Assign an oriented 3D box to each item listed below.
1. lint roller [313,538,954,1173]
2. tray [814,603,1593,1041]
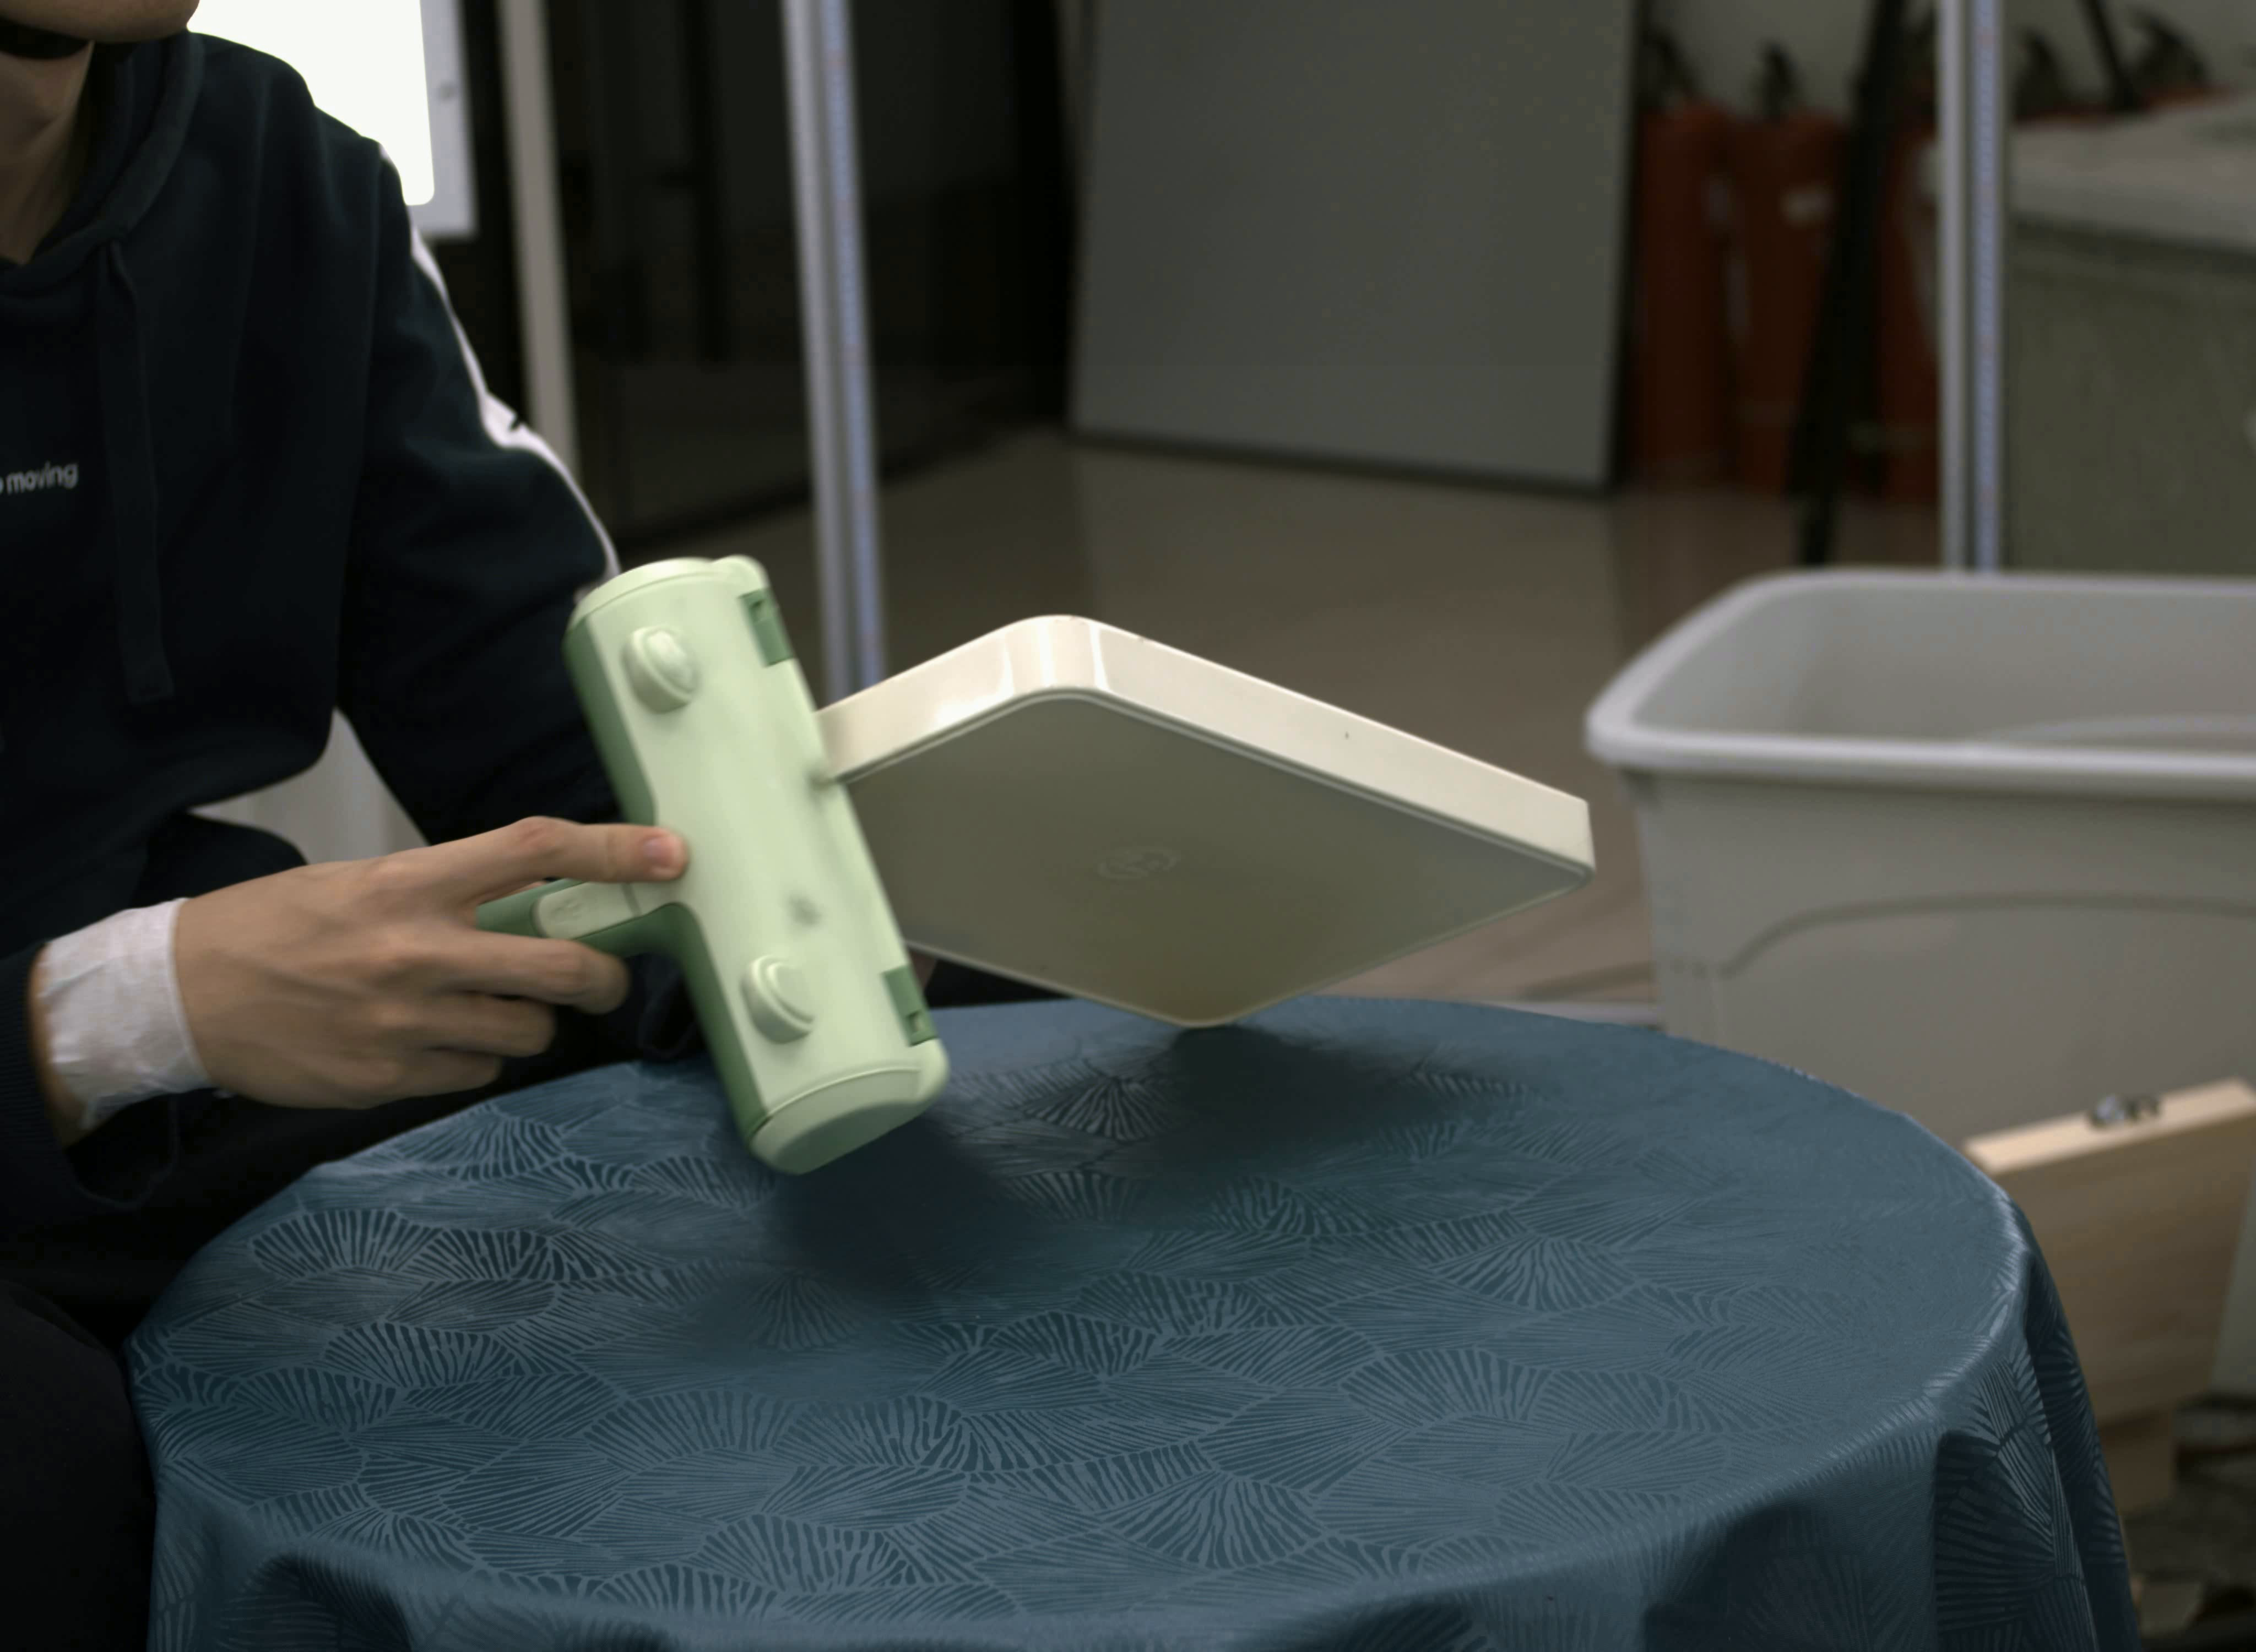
[{"bbox_3d":[-0.167,0.023,1.659,0.181,0.201,0.082,-19,-21,-6],"label":"lint roller"},{"bbox_3d":[0.001,0.006,1.798,0.193,0.028,0.294,-24,-28,35],"label":"tray"}]
